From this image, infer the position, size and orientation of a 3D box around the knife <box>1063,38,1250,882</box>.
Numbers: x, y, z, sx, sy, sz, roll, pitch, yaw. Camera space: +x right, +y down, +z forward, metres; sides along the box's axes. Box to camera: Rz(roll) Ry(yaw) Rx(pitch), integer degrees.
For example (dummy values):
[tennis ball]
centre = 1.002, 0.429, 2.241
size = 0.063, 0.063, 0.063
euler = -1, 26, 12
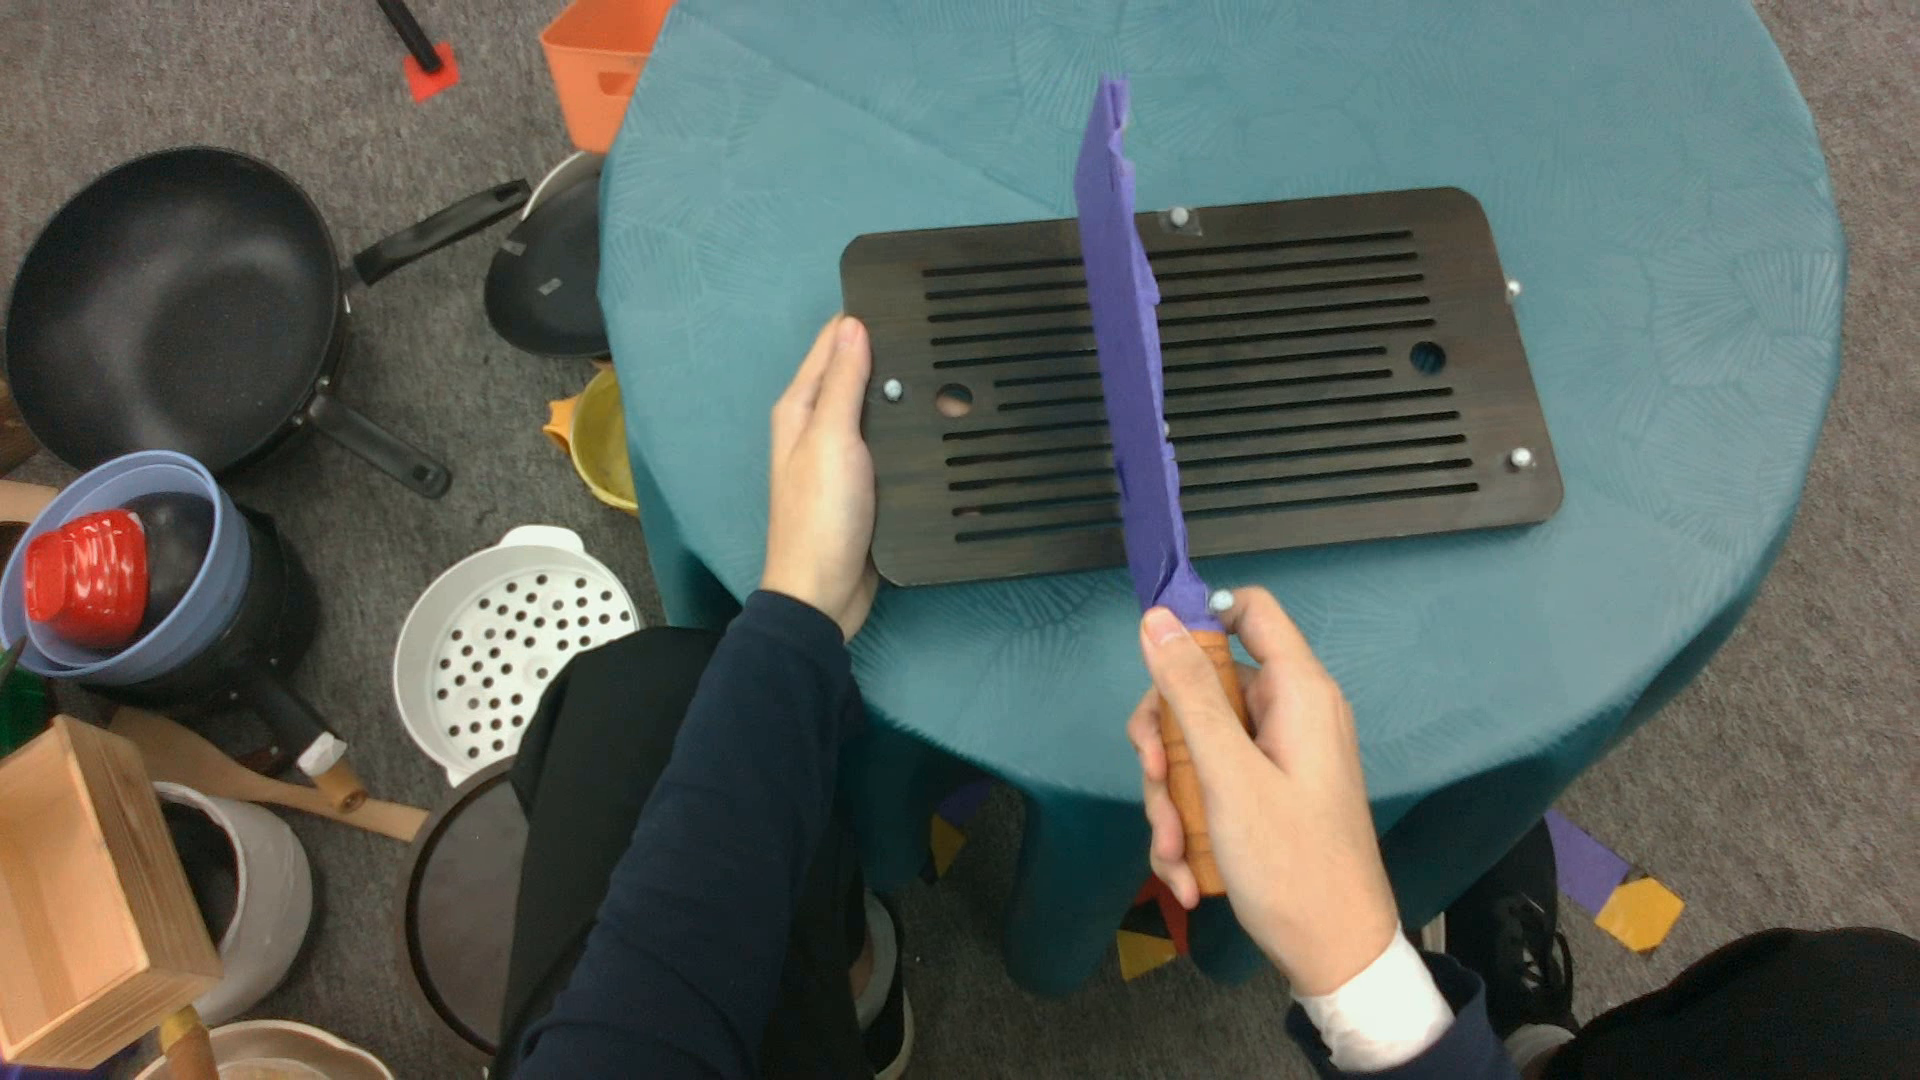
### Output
[knife]
centre = 0.071, -0.030, 0.538
size = 0.032, 0.103, 0.316
euler = -4, 78, -3

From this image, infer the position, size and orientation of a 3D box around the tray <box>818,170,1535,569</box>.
[tray]
centre = 0.095, -0.081, 0.622
size = 0.306, 0.018, 0.170
euler = -6, 71, -7
